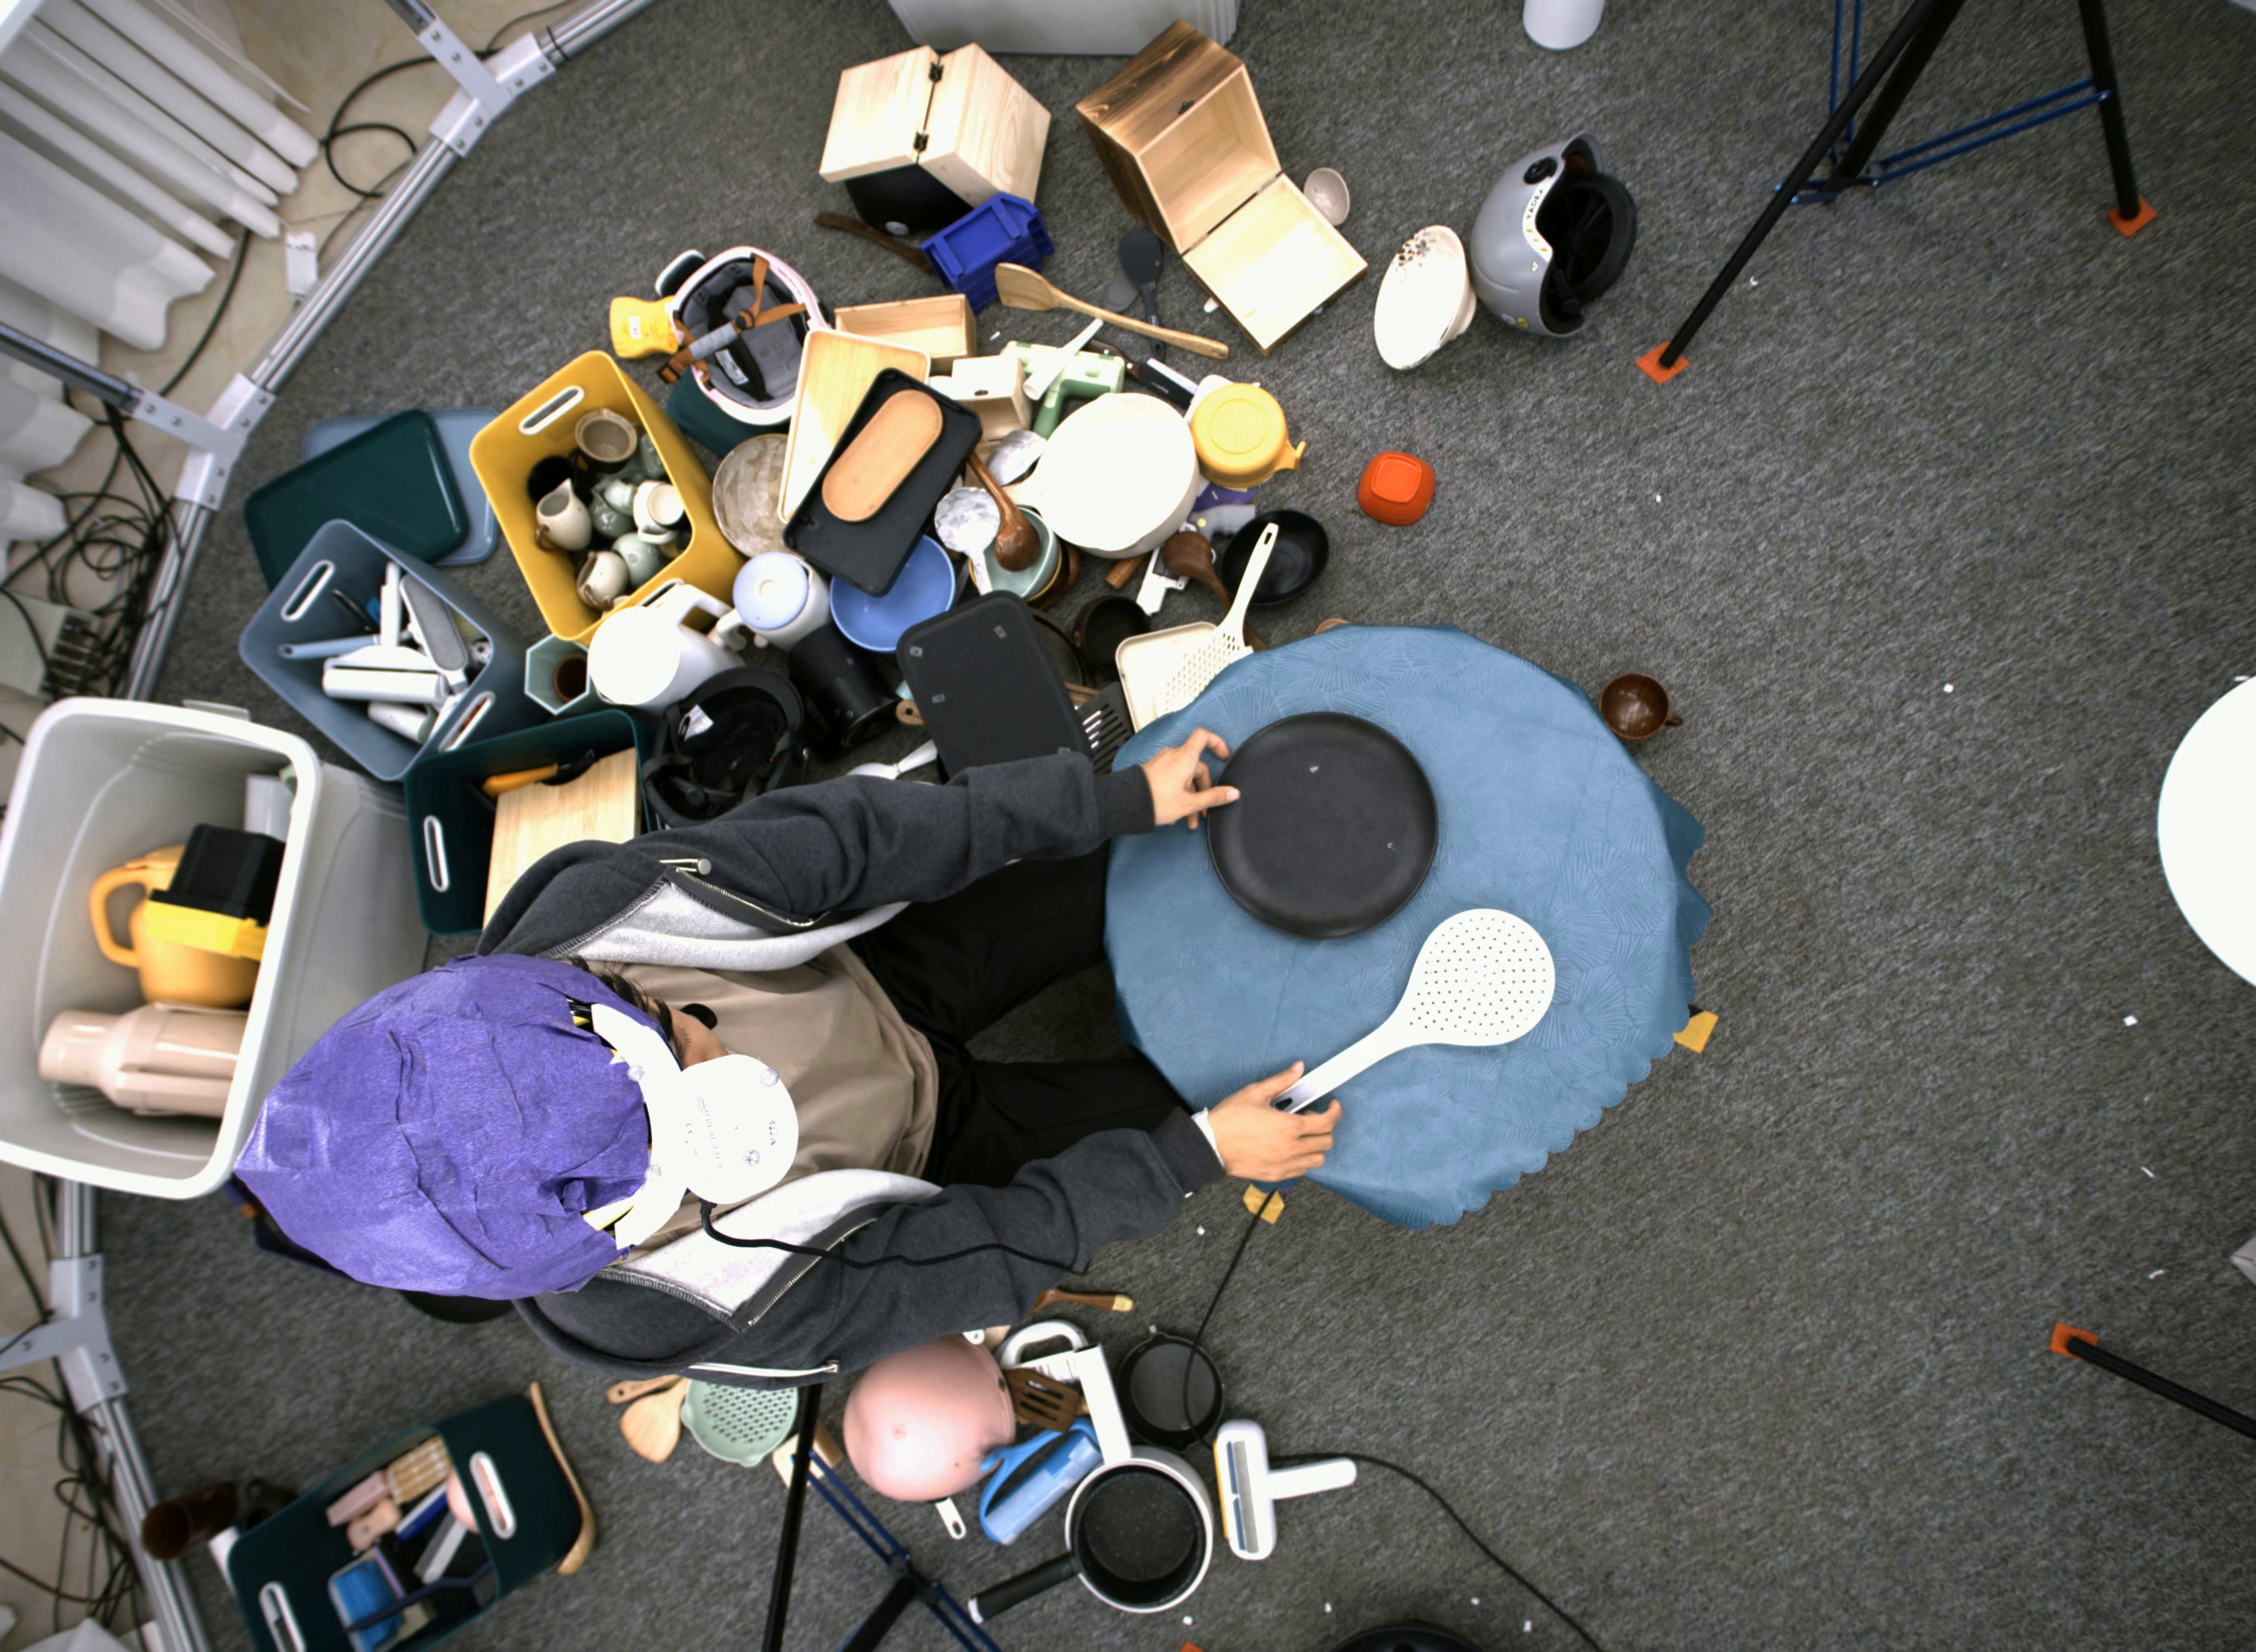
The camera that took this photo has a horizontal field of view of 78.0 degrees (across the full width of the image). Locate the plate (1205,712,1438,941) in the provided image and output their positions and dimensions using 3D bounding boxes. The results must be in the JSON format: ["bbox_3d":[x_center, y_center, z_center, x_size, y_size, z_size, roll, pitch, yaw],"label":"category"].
[{"bbox_3d":[0.204,0.000,1.464,0.245,0.023,0.243,-1,87,10],"label":"plate"}]

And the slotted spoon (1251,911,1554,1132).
[{"bbox_3d":[0.277,0.214,1.427,0.352,0.046,0.135,-34,80,8],"label":"slotted spoon"}]
